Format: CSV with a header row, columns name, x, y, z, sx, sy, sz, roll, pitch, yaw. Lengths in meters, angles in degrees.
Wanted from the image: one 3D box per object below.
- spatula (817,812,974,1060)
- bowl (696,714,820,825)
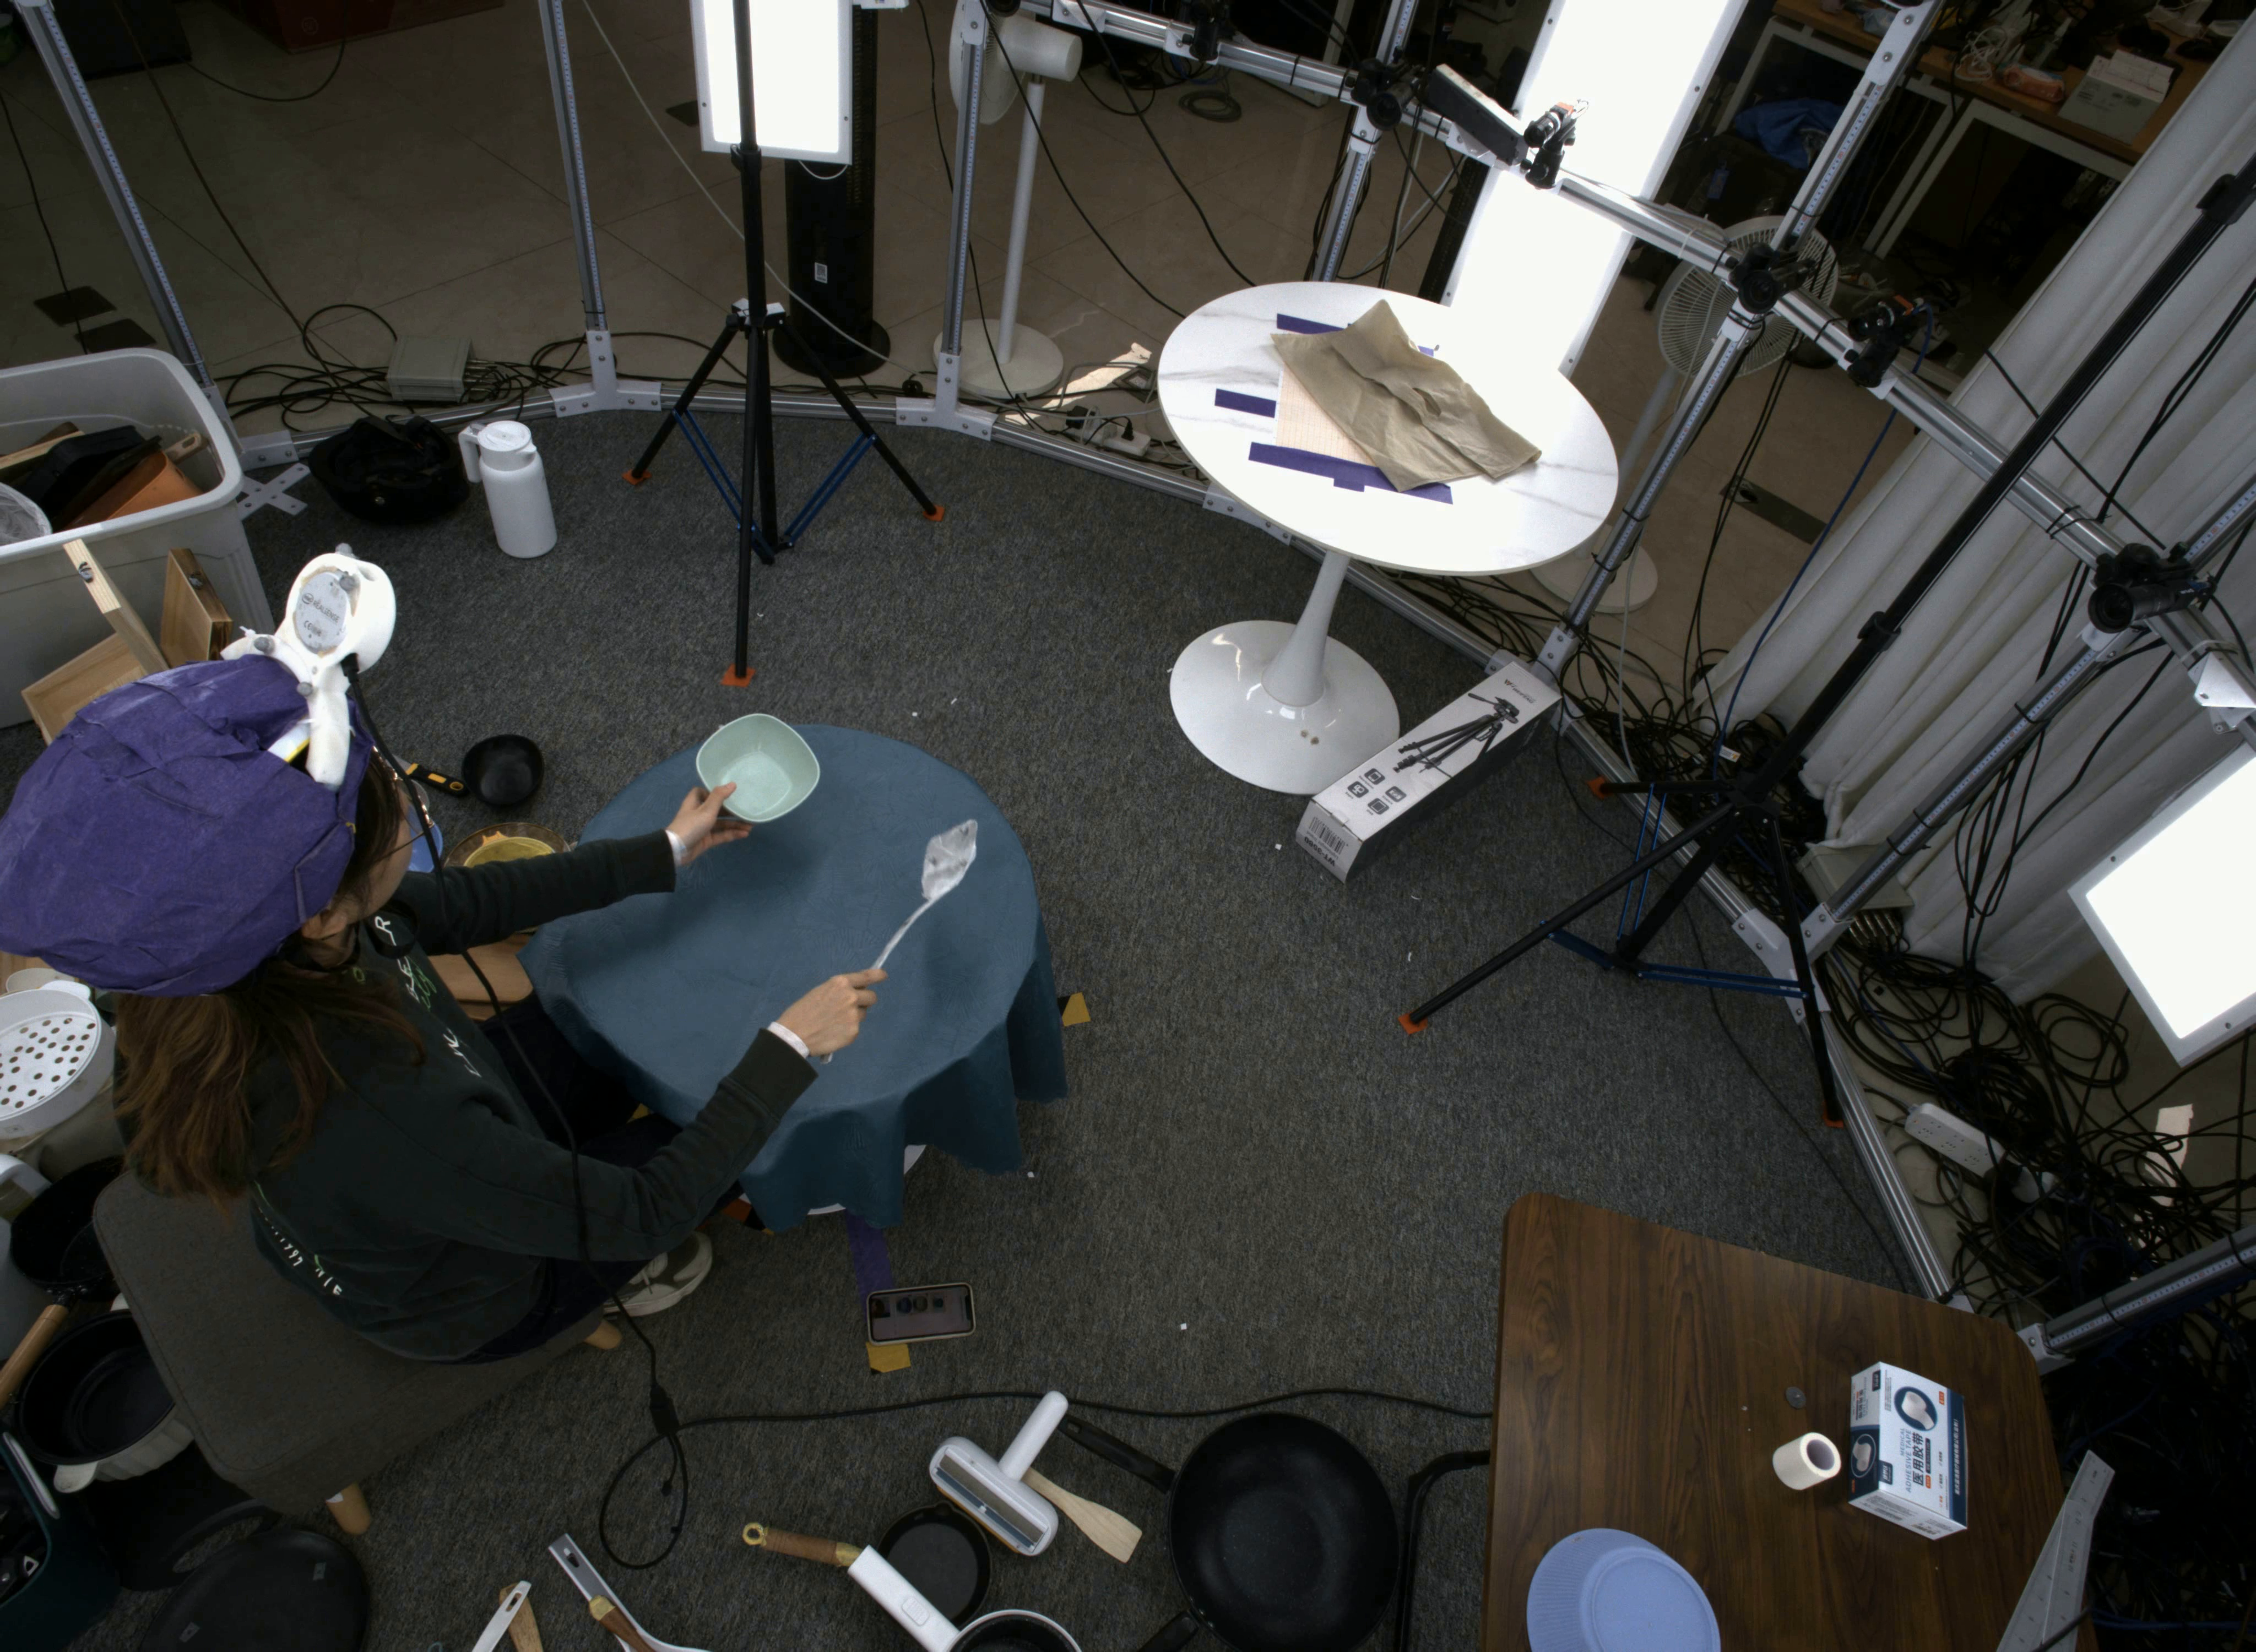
name,x,y,z,sx,sy,sz,roll,pitch,yaw
spatula,-0.269,0.114,1.483,0.046,0.096,0.362,54,40,-22
bowl,-0.469,-0.062,1.634,0.152,0.059,0.149,10,62,-18
